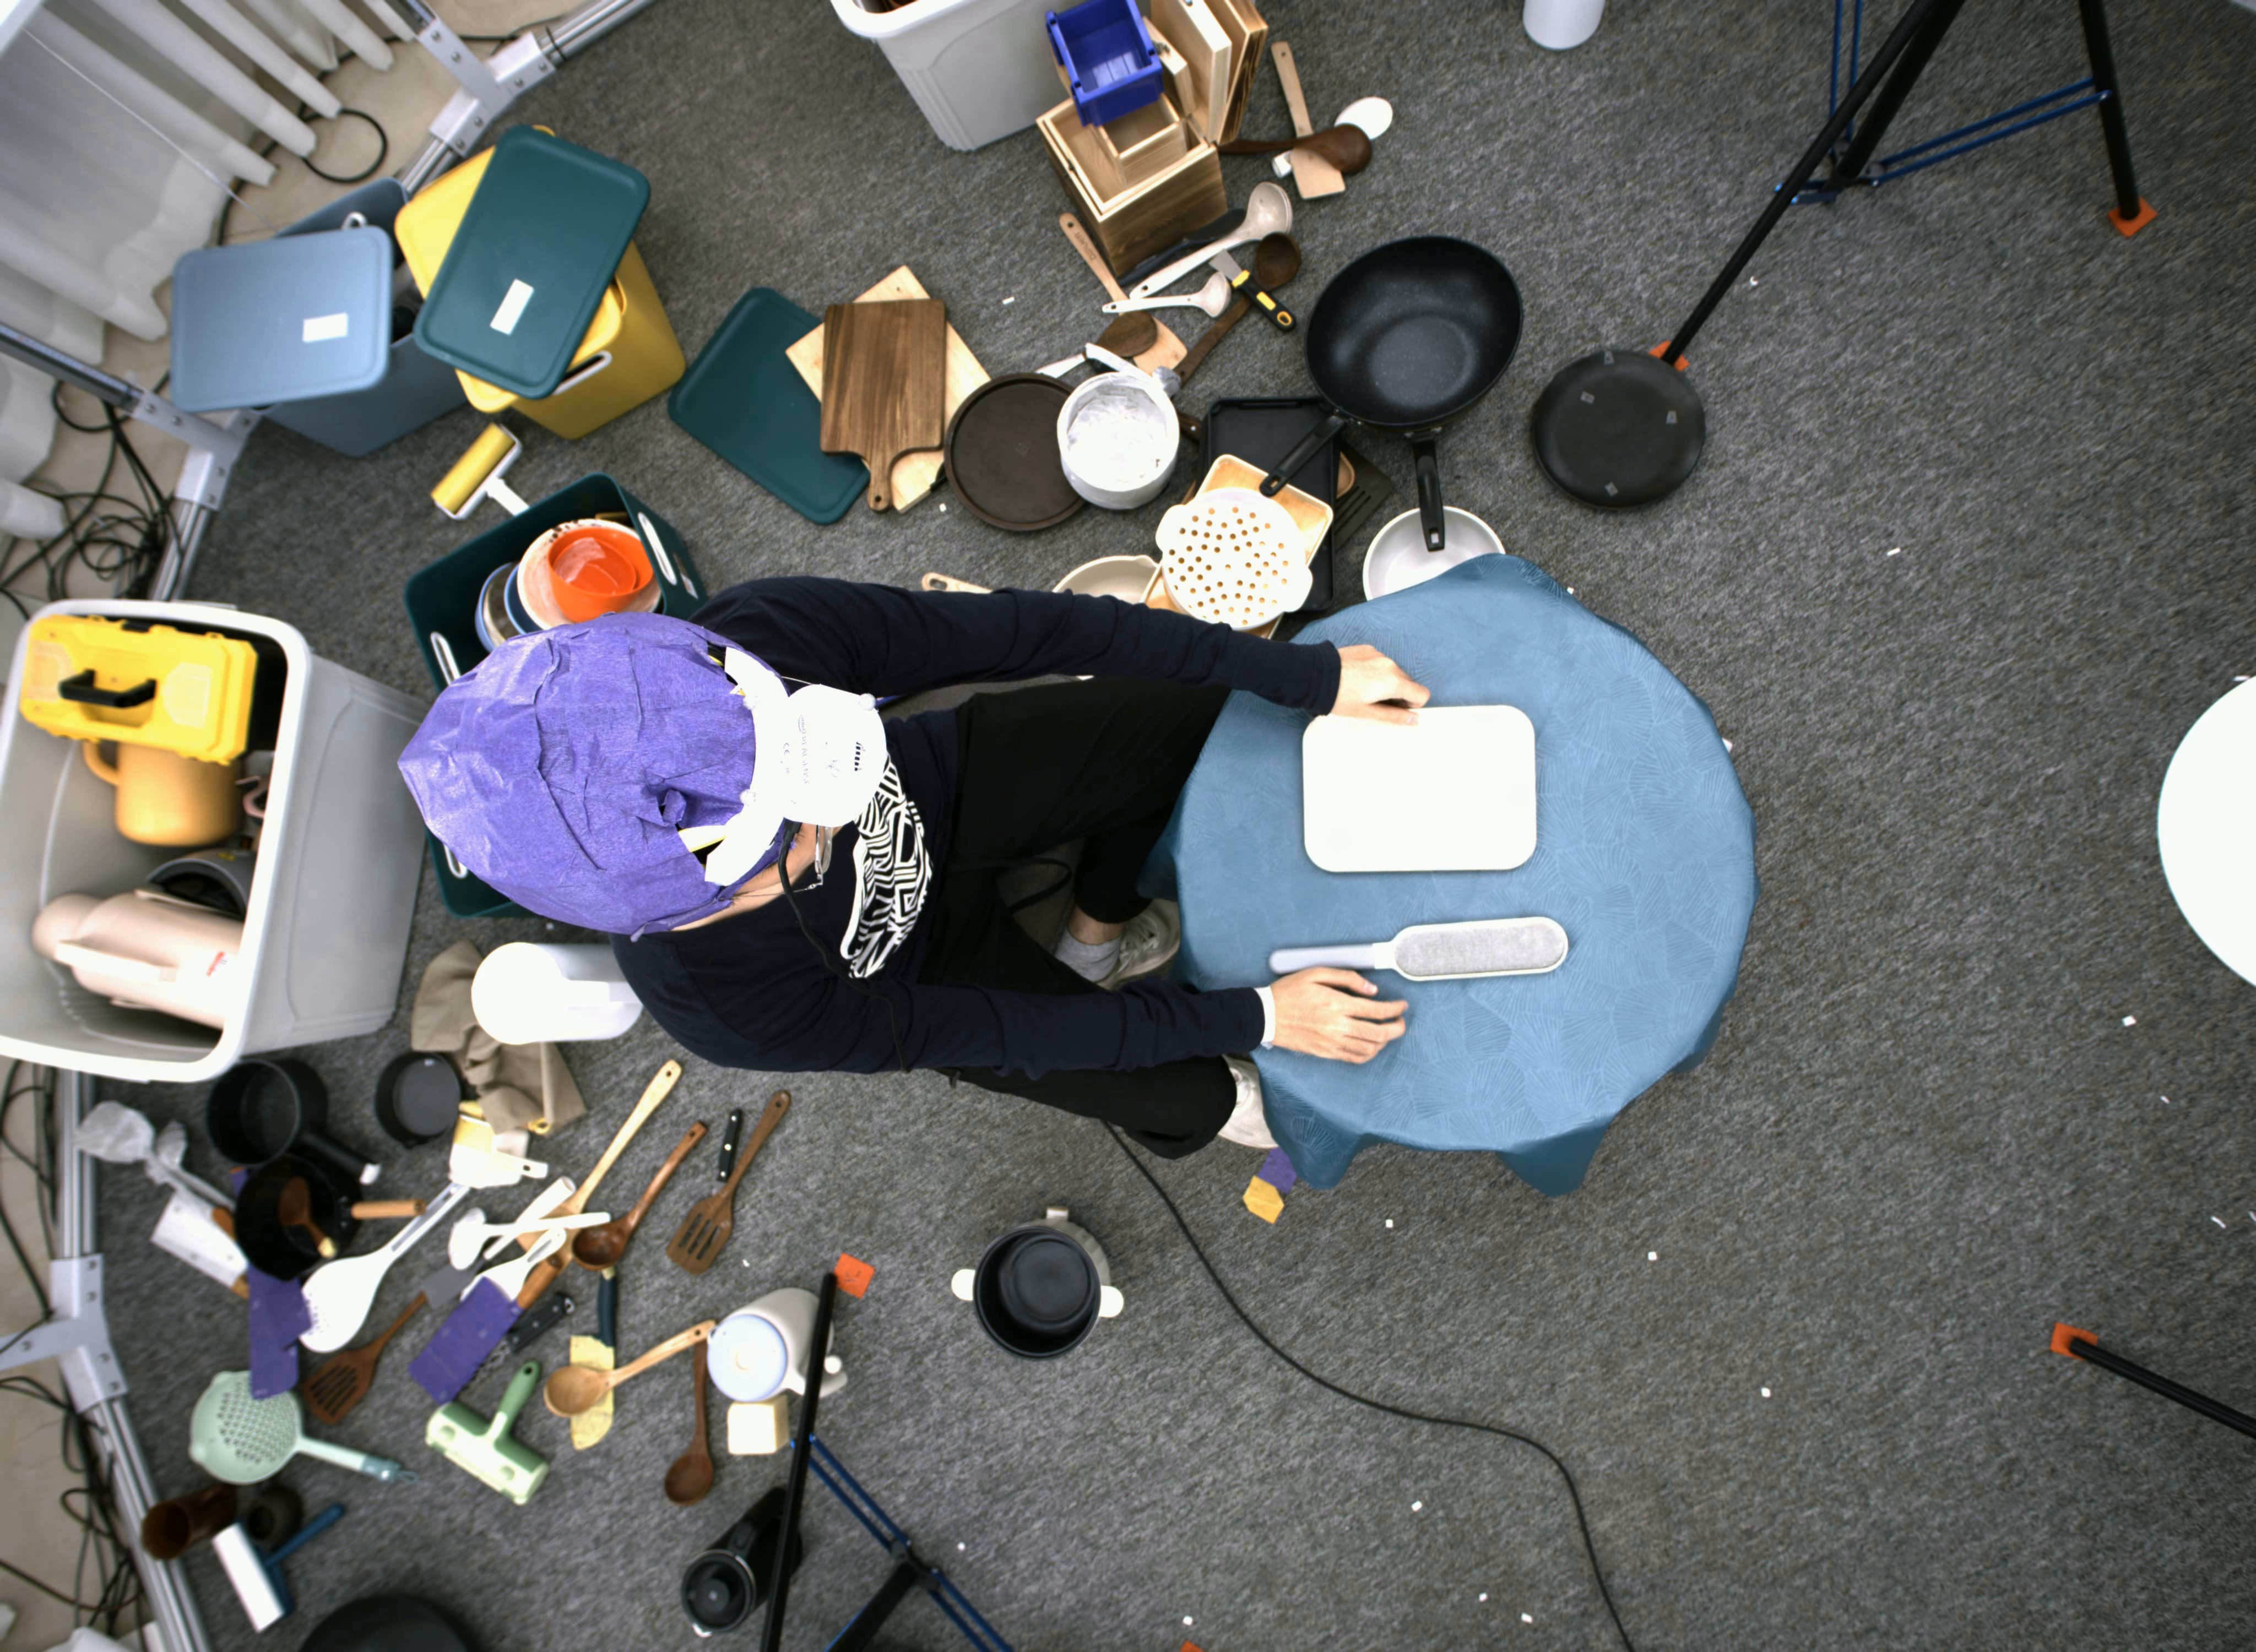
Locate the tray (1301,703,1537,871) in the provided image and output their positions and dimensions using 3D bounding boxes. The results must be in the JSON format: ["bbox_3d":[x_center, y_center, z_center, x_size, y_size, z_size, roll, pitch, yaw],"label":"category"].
[{"bbox_3d":[0.304,-0.041,1.443,0.240,0.017,0.171,-2,93,10],"label":"tray"}]

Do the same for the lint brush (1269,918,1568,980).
[{"bbox_3d":[0.300,0.129,1.437,0.310,0.021,0.060,-5,91,10],"label":"lint brush"}]
